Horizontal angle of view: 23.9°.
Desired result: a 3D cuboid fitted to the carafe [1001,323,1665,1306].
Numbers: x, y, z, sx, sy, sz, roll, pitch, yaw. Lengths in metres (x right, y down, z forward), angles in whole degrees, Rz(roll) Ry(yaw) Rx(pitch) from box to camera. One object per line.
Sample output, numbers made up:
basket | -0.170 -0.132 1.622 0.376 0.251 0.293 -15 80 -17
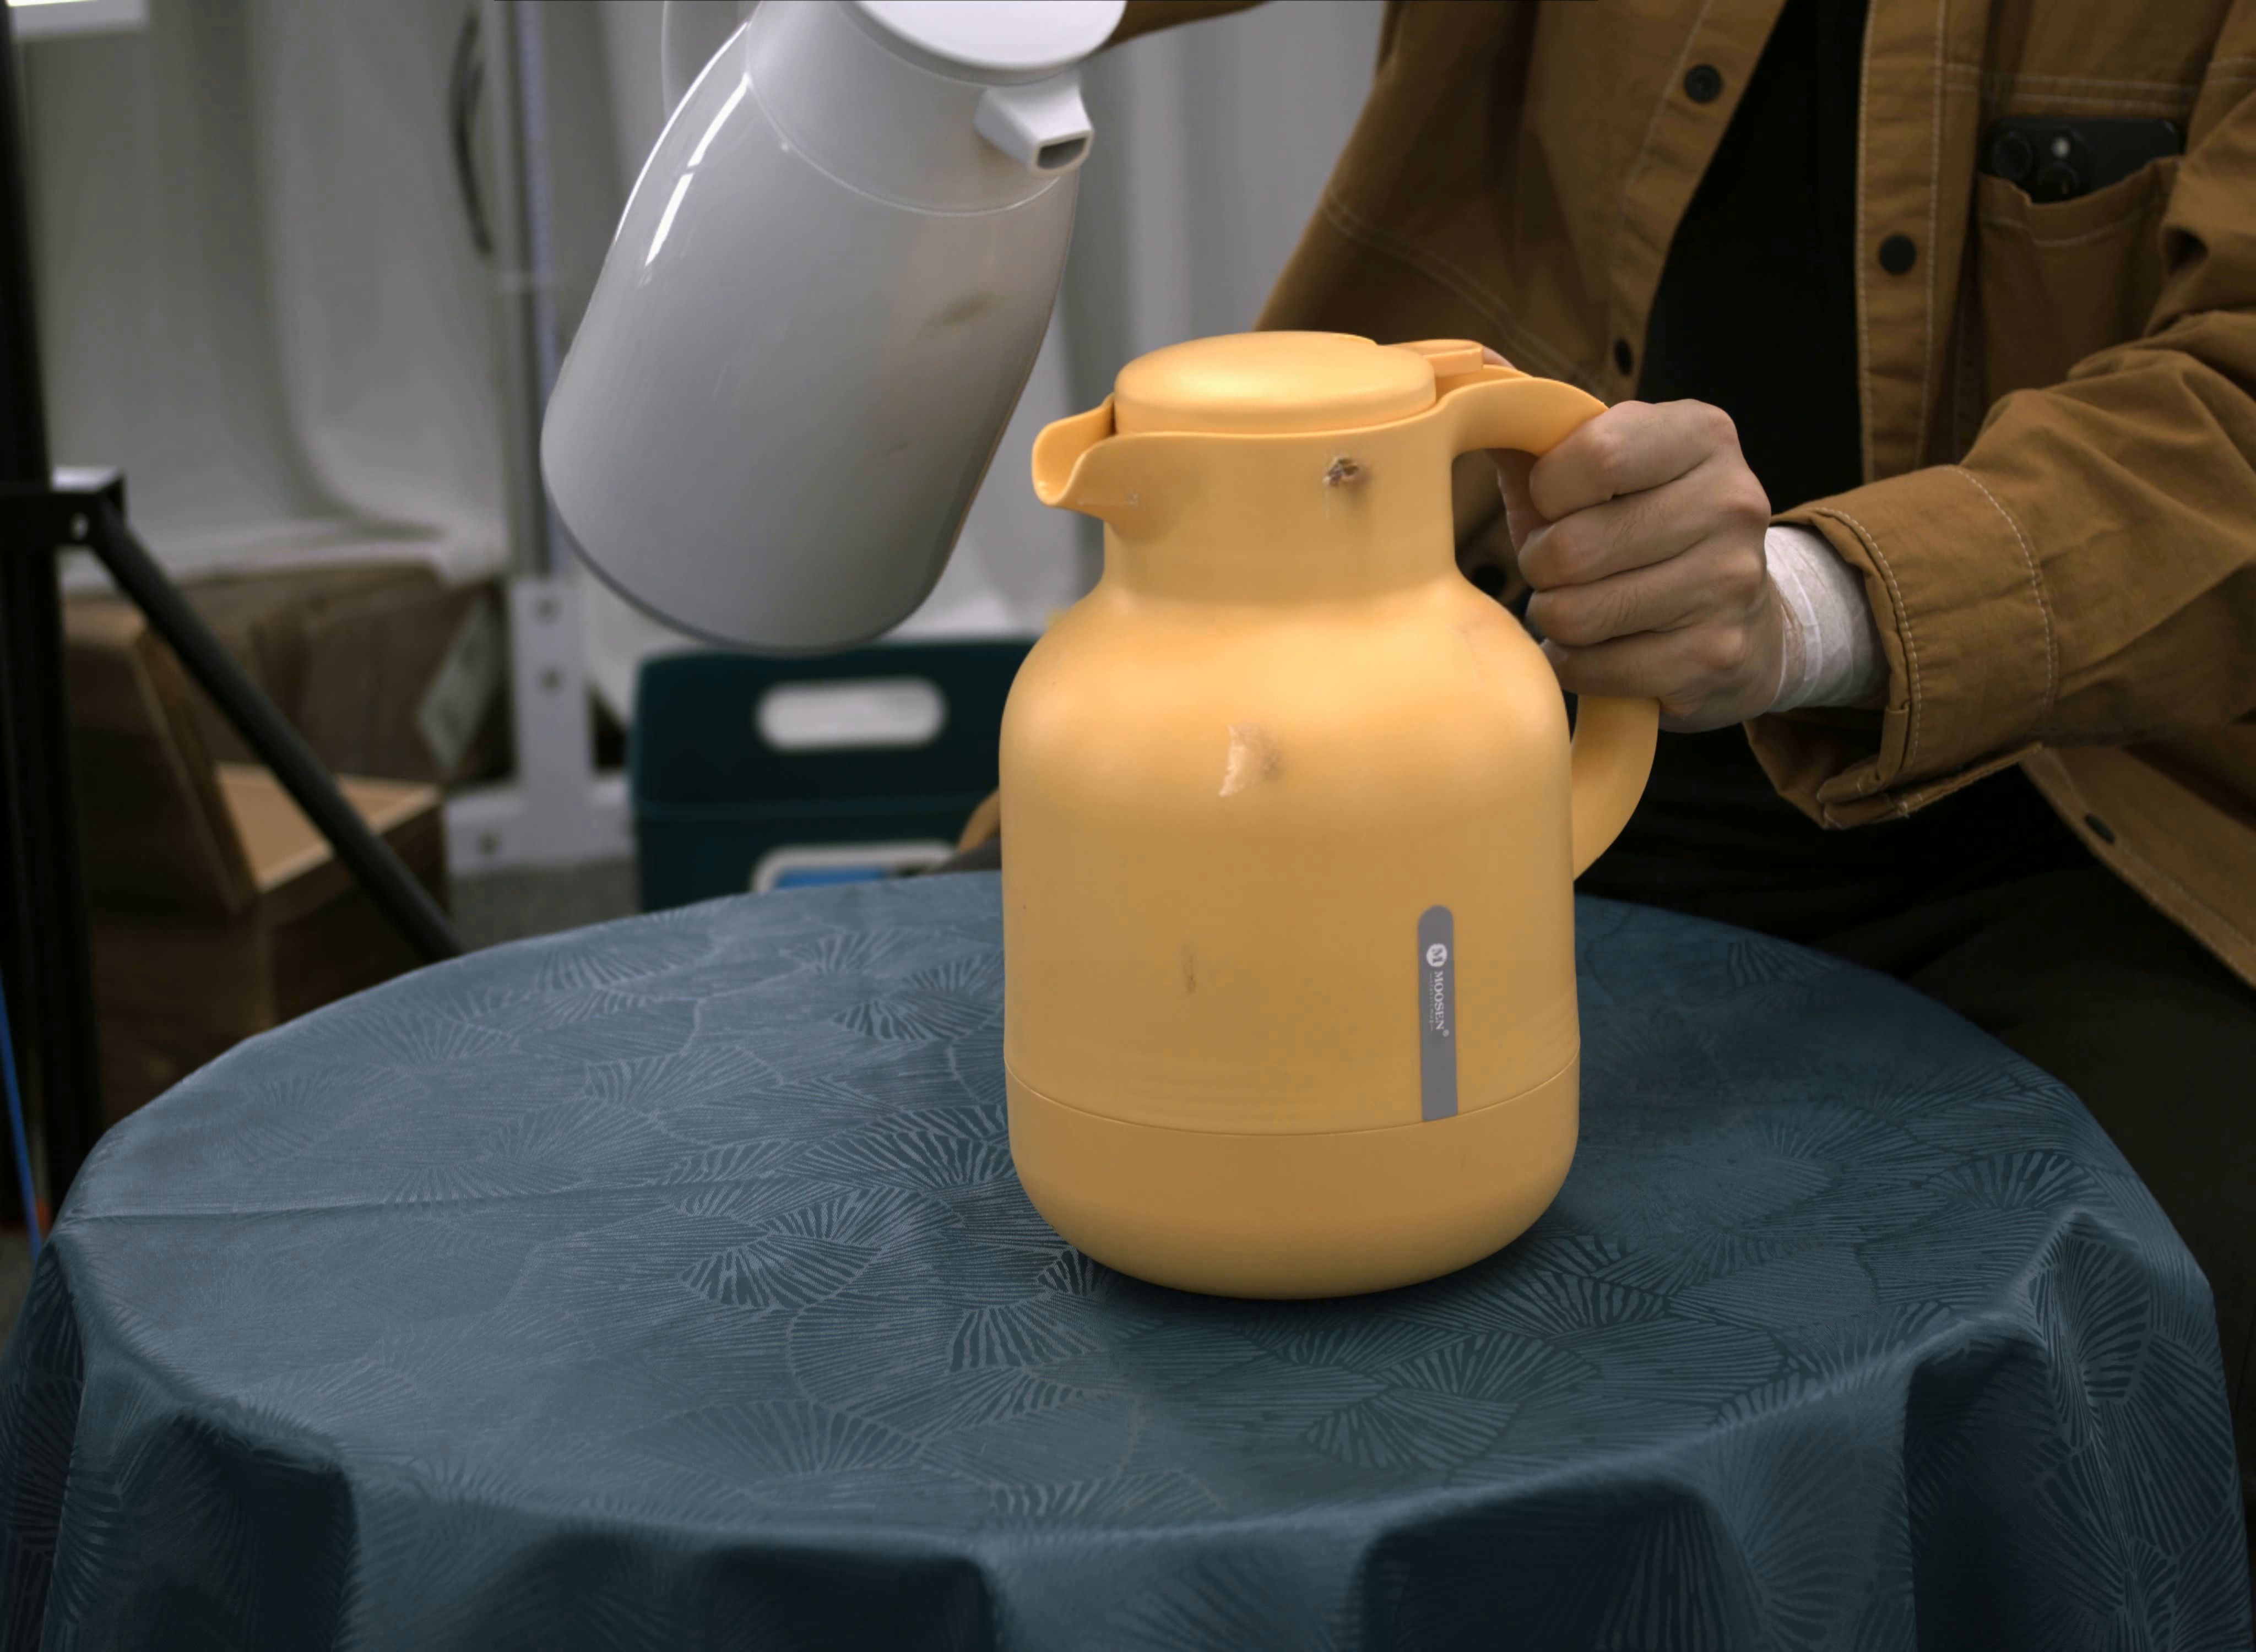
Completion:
carafe | 0.063 -0.010 1.487 0.198 0.260 0.167 -11 19 -25

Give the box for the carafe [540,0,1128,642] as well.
carafe | -0.088 -0.194 1.560 0.130 0.250 0.170 -18 62 -32
